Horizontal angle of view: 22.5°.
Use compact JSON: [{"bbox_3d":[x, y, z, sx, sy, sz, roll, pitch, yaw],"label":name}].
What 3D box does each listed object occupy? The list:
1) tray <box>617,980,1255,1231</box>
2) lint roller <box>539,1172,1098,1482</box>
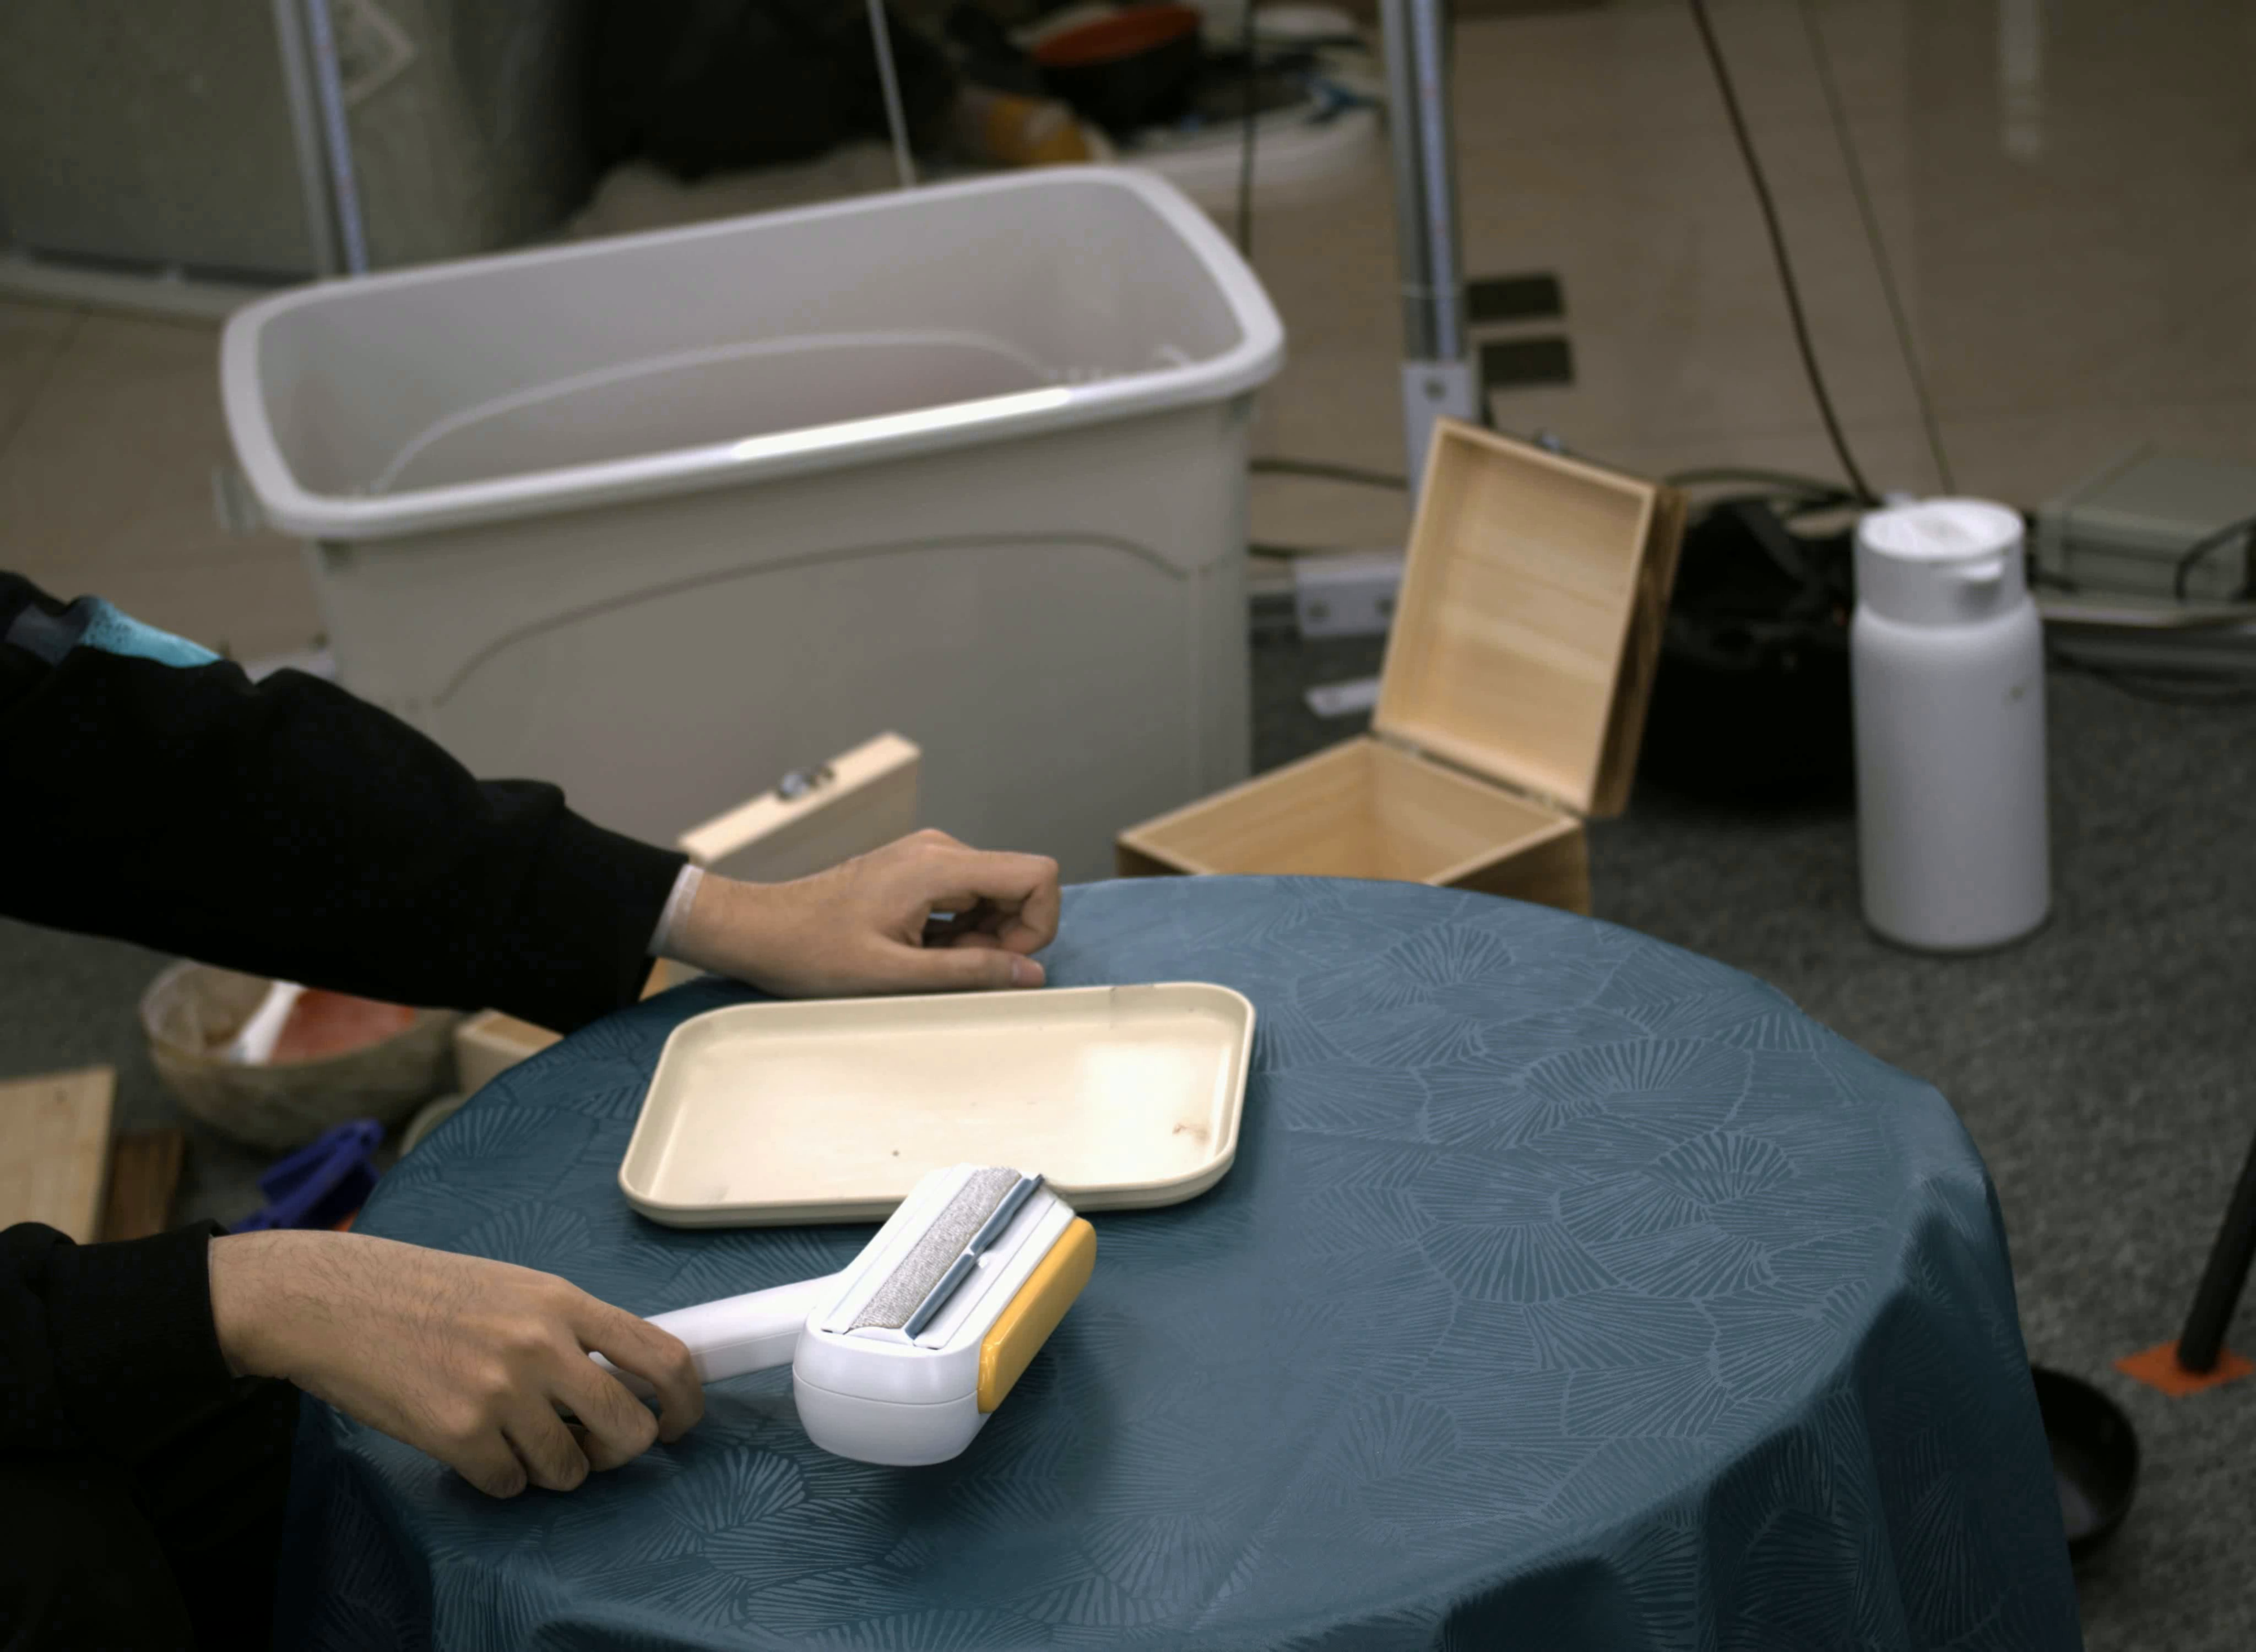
[{"bbox_3d":[-0.072,0.110,2.204,0.239,0.018,0.169,-3,26,8],"label":"tray"},{"bbox_3d":[-0.121,0.179,2.008,0.192,0.075,0.190,1,21,18],"label":"lint roller"}]
